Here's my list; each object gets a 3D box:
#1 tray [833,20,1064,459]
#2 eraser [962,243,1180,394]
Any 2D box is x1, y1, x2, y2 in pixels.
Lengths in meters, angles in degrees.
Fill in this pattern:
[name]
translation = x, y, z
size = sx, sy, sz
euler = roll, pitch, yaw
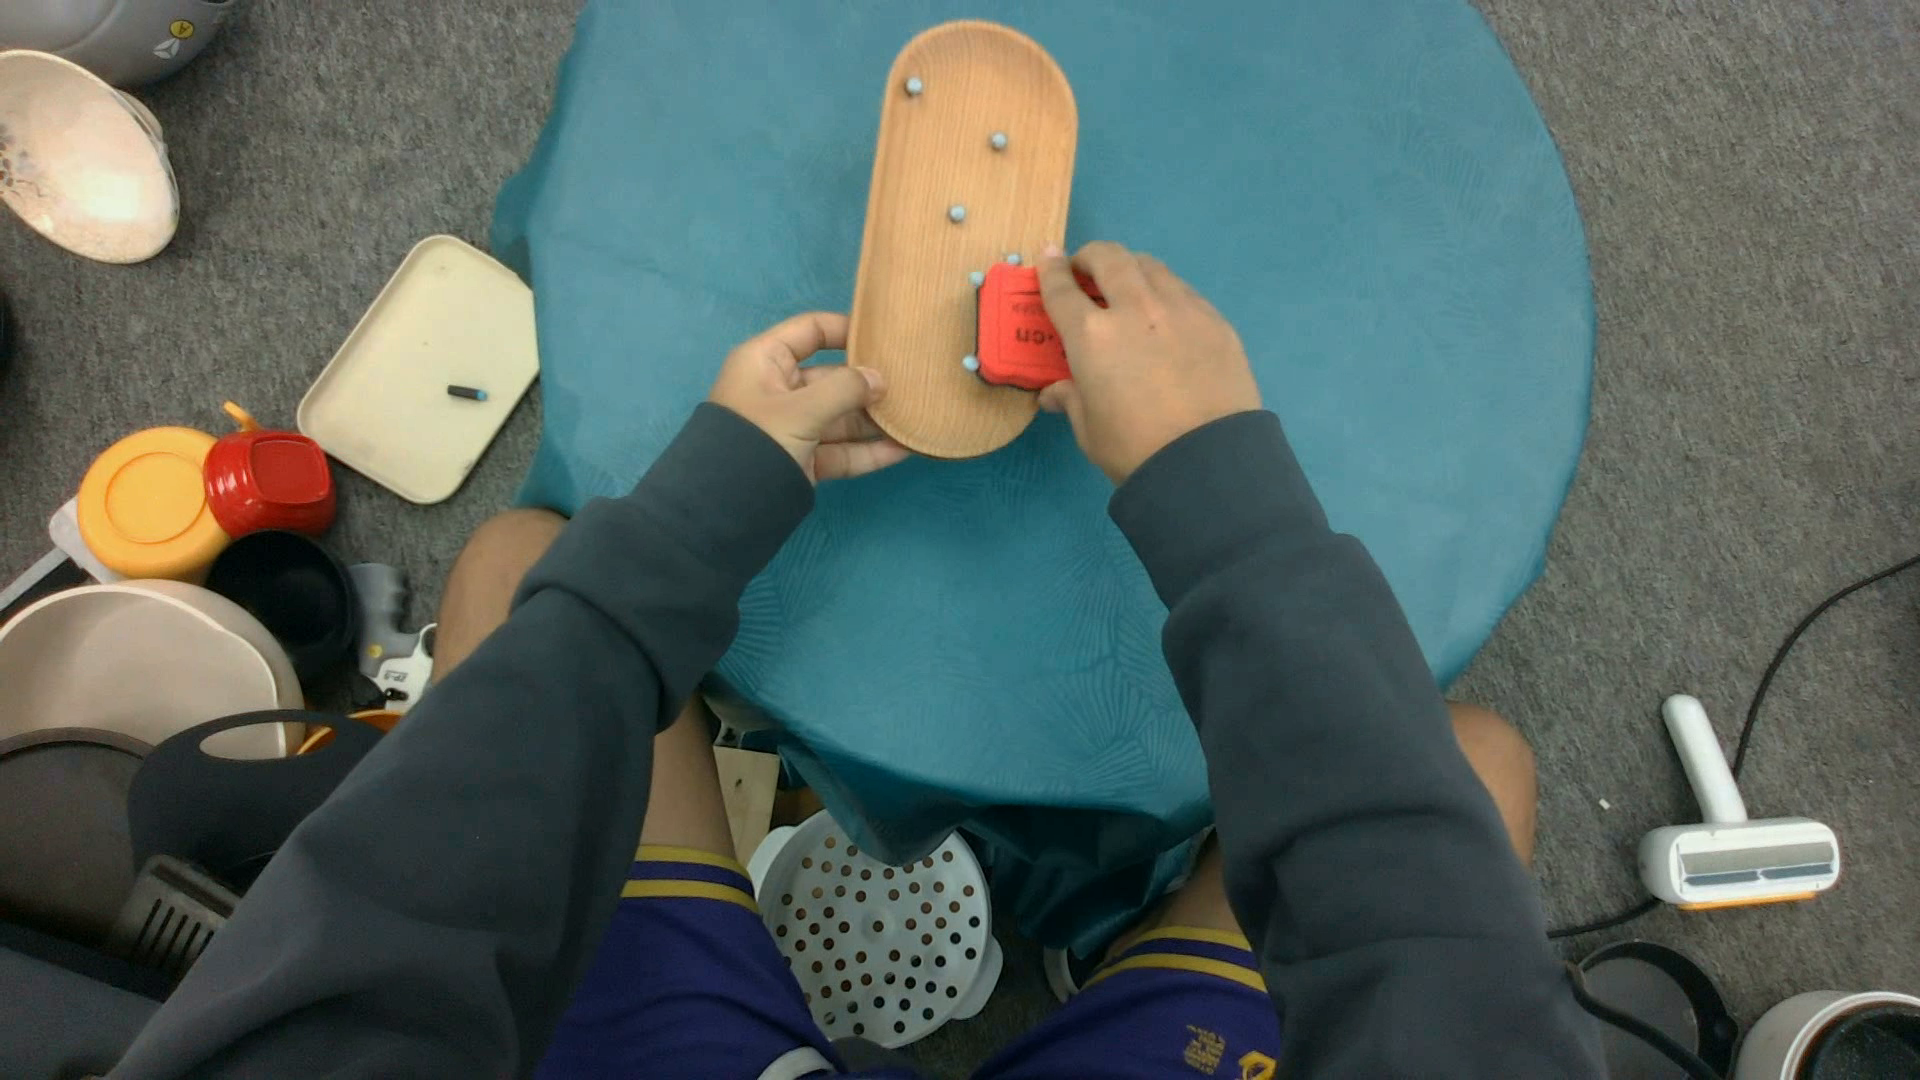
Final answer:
[tray]
translation = -0.004, -0.152, 0.689
size = 0.102, 0.020, 0.231
euler = 9, 79, -11
[eraser]
translation = 0.055, -0.108, 0.678
size = 0.108, 0.023, 0.059
euler = 7, 73, -18
